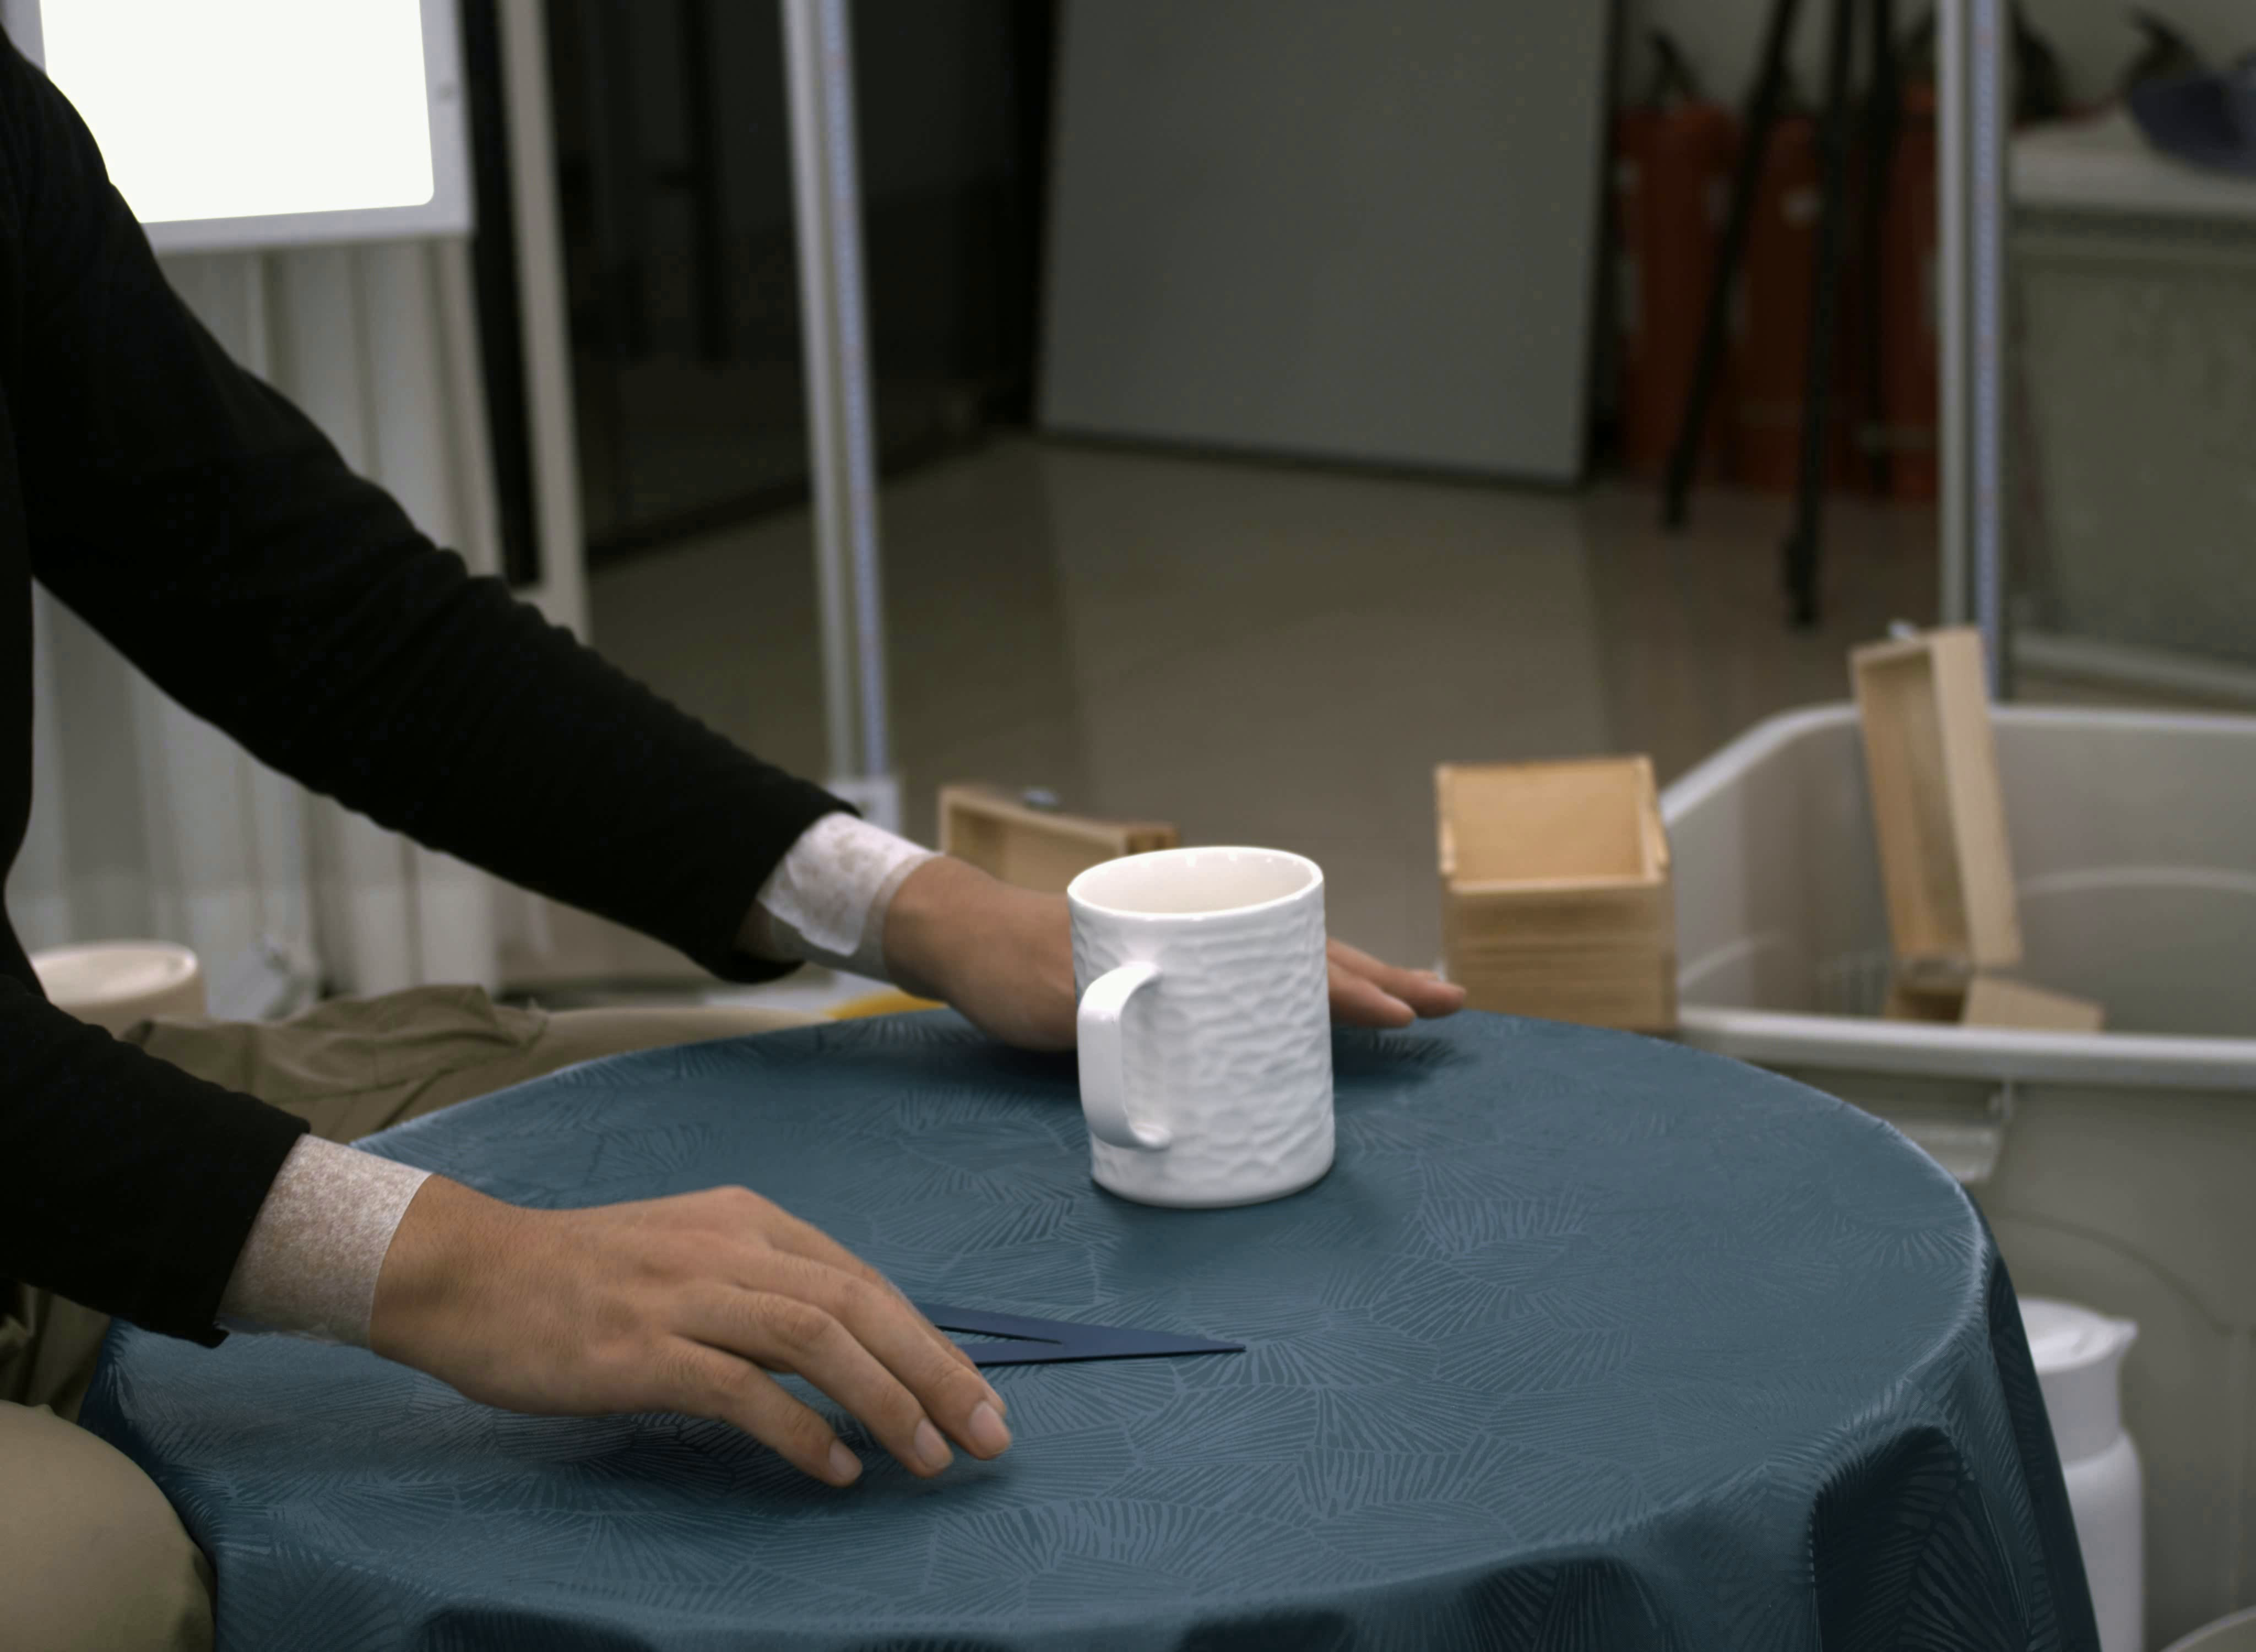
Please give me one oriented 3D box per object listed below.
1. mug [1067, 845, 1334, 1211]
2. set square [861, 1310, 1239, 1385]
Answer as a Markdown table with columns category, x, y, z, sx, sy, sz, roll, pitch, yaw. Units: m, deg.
| category | x | y | z | sx | sy | sz | roll | pitch | yaw |
| --- | --- | --- | --- | --- | --- | --- | --- | --- | --- |
| mug | 0.018 | 0.070 | 1.758 | 0.085 | 0.103 | 0.116 | 4 | 15 | 28 |
| set square | -0.033 | 0.160 | 1.612 | 0.133 | 0.006 | 0.060 | 6 | 15 | 35 |
